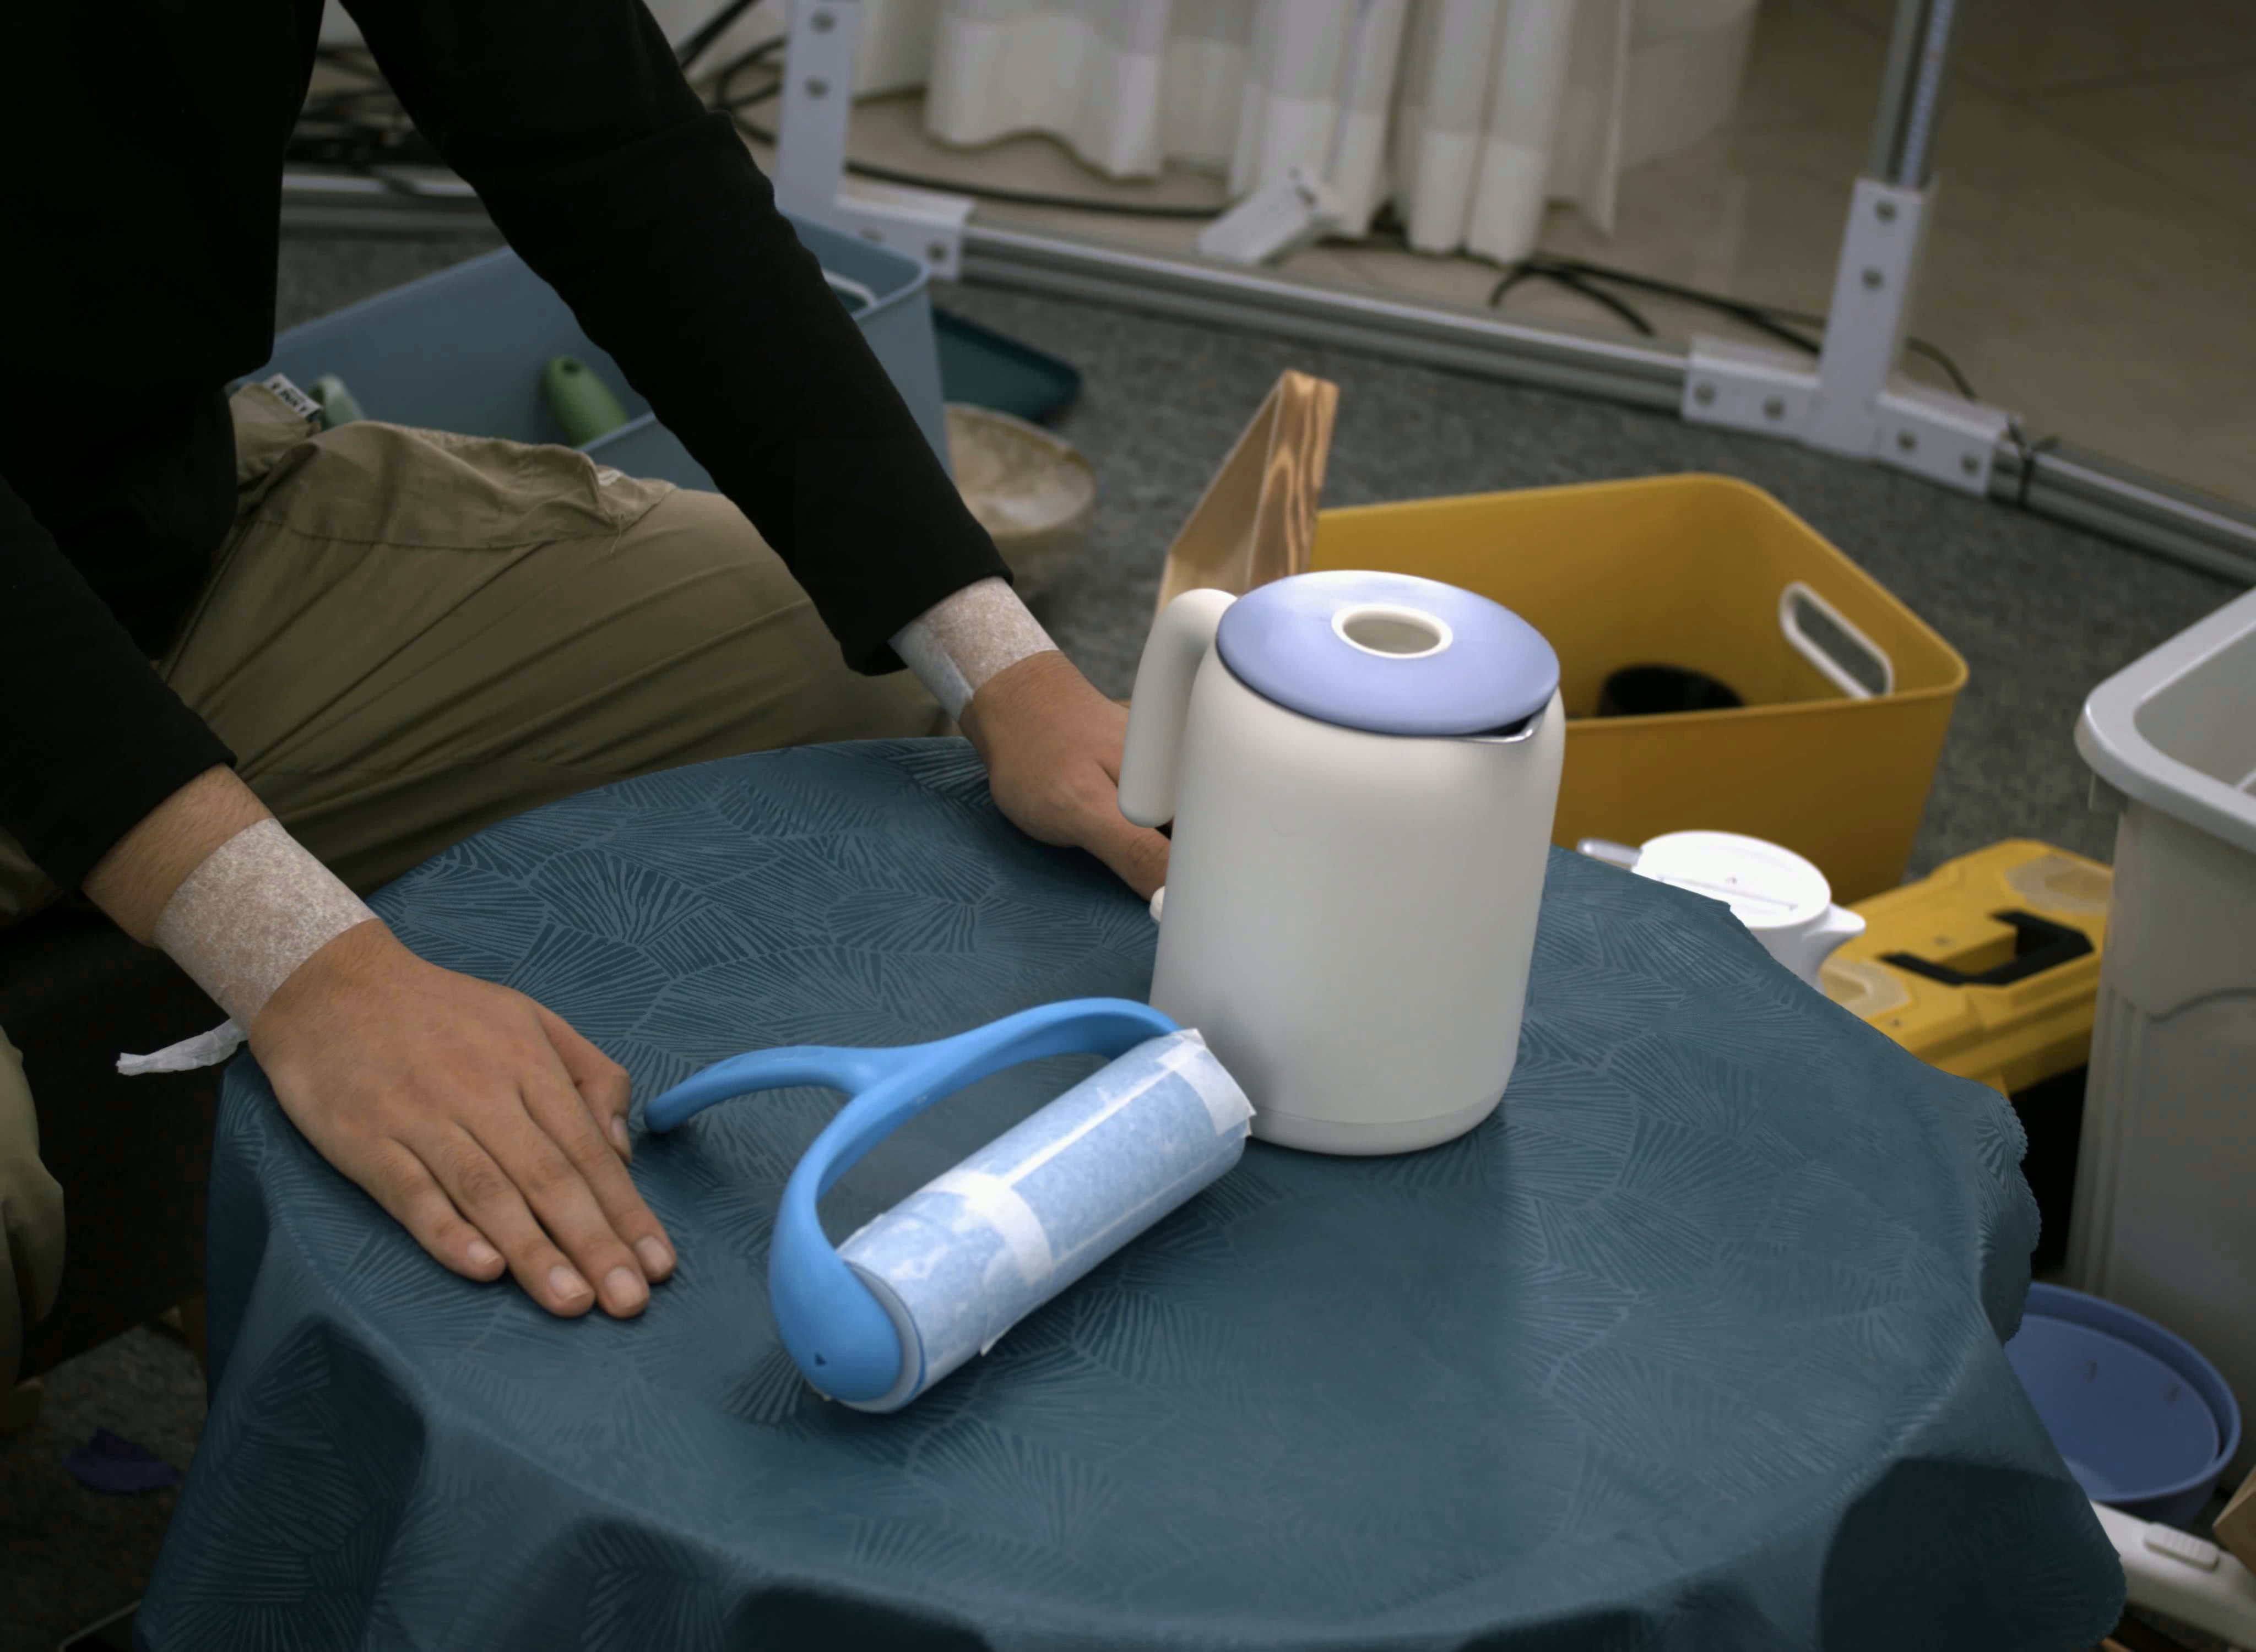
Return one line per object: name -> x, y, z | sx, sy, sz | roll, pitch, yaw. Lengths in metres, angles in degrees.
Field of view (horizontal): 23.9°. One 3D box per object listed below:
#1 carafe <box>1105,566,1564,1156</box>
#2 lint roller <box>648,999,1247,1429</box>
carafe -> 0.063, 0.002, 1.866 | 0.131, 0.182, 0.192 | -17, 33, -40
lint roller -> -0.084, 0.105, 1.754 | 0.181, 0.067, 0.228 | 26, 36, 22
